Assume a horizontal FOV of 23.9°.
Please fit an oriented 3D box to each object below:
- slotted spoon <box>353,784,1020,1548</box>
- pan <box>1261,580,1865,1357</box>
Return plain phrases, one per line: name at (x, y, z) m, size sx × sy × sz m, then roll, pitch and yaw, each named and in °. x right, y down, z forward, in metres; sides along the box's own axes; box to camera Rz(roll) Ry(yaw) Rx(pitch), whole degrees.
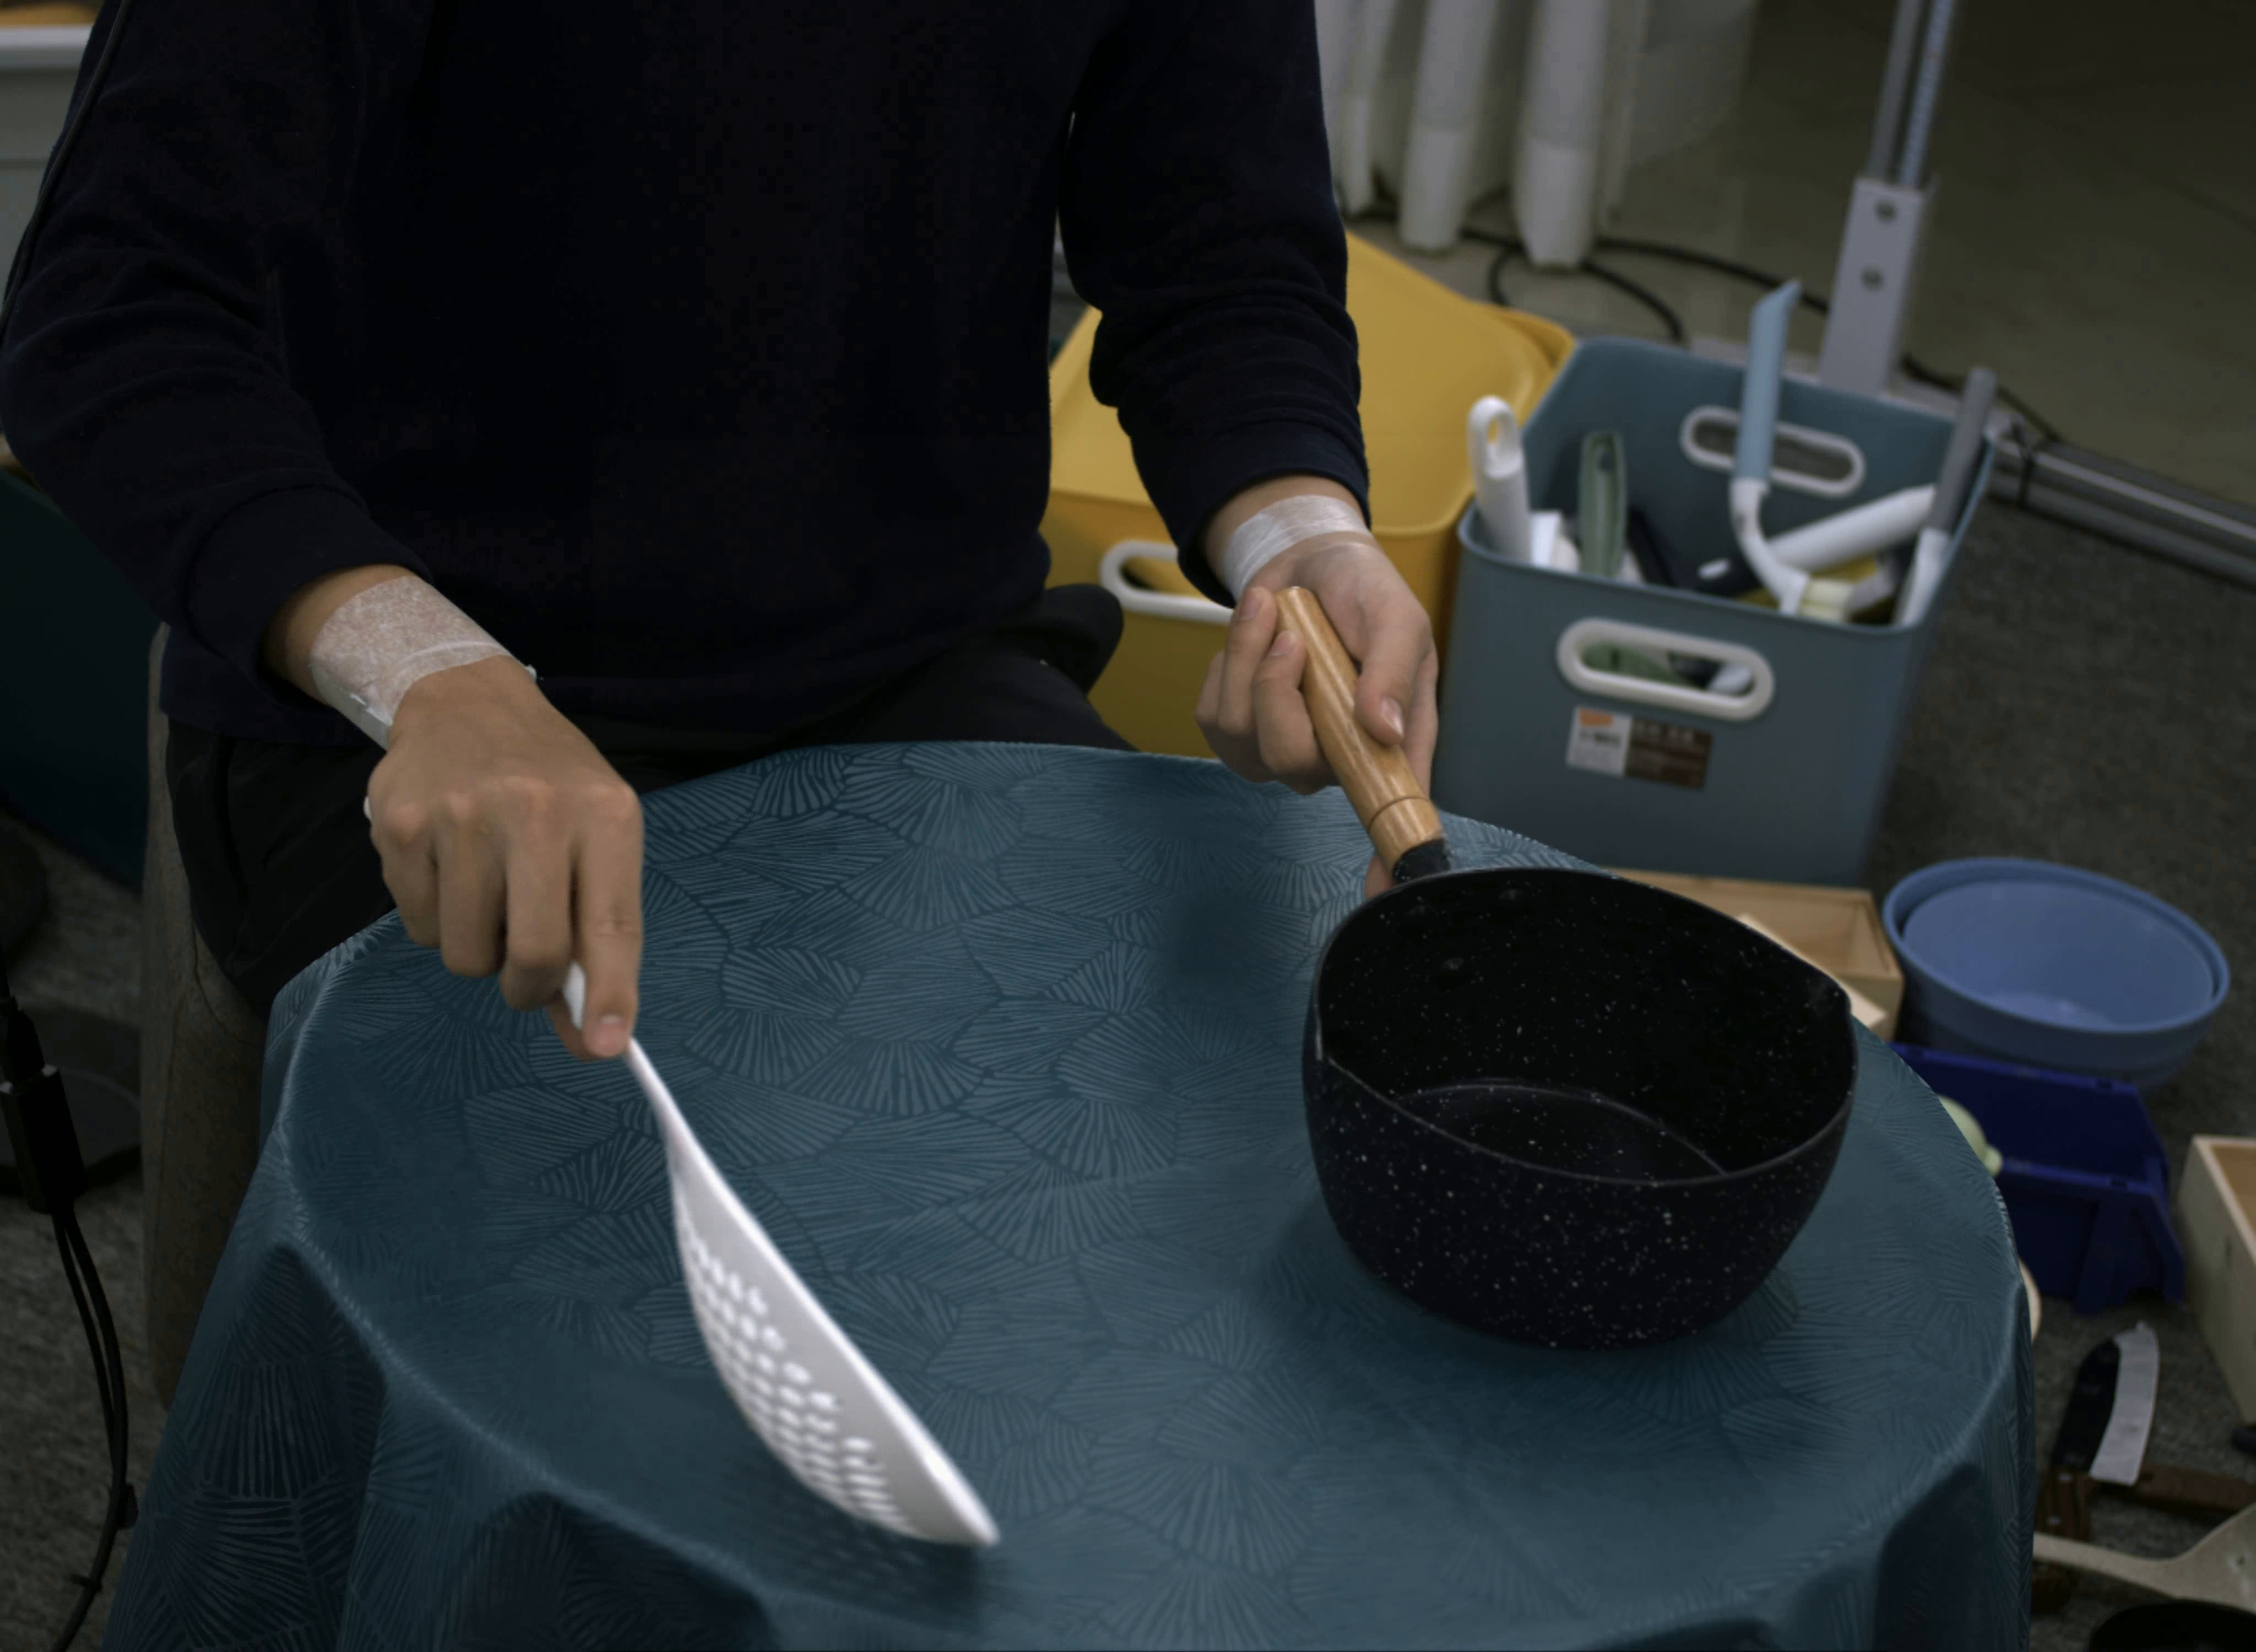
slotted spoon at (-0.144, 0.096, 1.638) m, size 0.050 × 0.135 × 0.351 m, roll -35°, pitch 55°, yaw -1°
pan at (0.116, 0.046, 1.834) m, size 0.206 × 0.108 × 0.346 m, roll -8°, pitch 37°, yaw -23°
